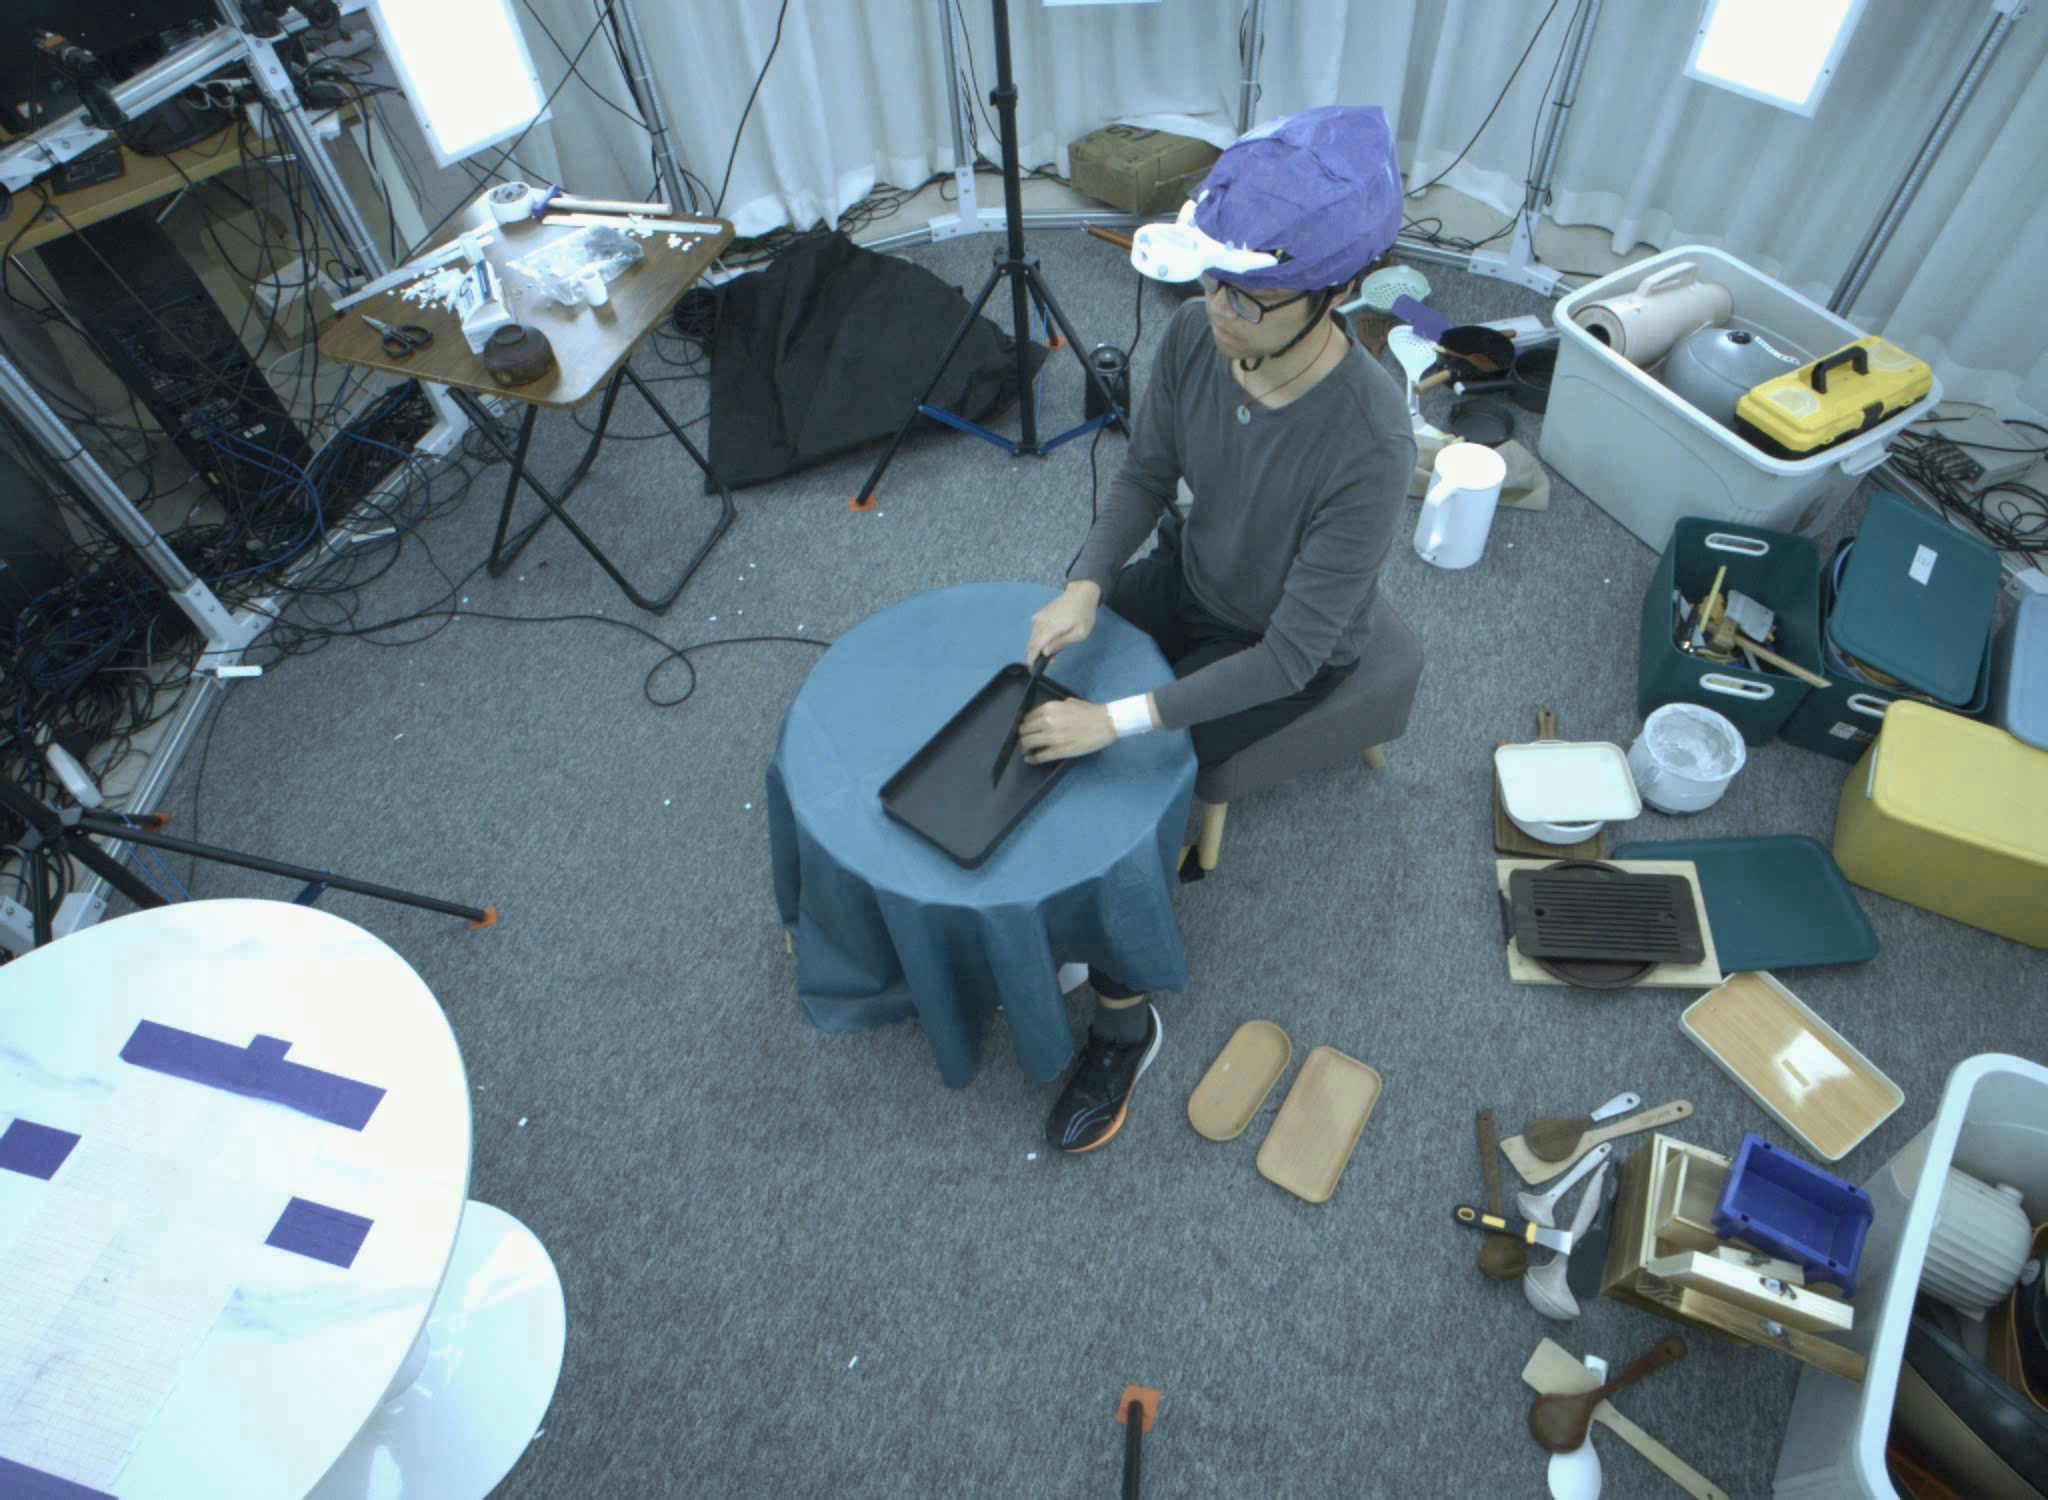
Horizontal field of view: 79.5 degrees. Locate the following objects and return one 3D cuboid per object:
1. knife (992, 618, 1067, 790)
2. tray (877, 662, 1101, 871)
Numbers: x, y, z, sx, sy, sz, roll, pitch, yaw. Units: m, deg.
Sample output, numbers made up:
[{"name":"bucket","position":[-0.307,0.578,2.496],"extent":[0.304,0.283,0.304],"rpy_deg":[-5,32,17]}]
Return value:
[{"name":"knife","position":[0.007,-0.075,1.768],"extent":[0.020,0.082,0.302],"rpy_deg":[15,59,12]},{"name":"tray","position":[-0.047,0.017,1.761],"extent":[0.181,0.037,0.319],"rpy_deg":[30,61,21]}]
